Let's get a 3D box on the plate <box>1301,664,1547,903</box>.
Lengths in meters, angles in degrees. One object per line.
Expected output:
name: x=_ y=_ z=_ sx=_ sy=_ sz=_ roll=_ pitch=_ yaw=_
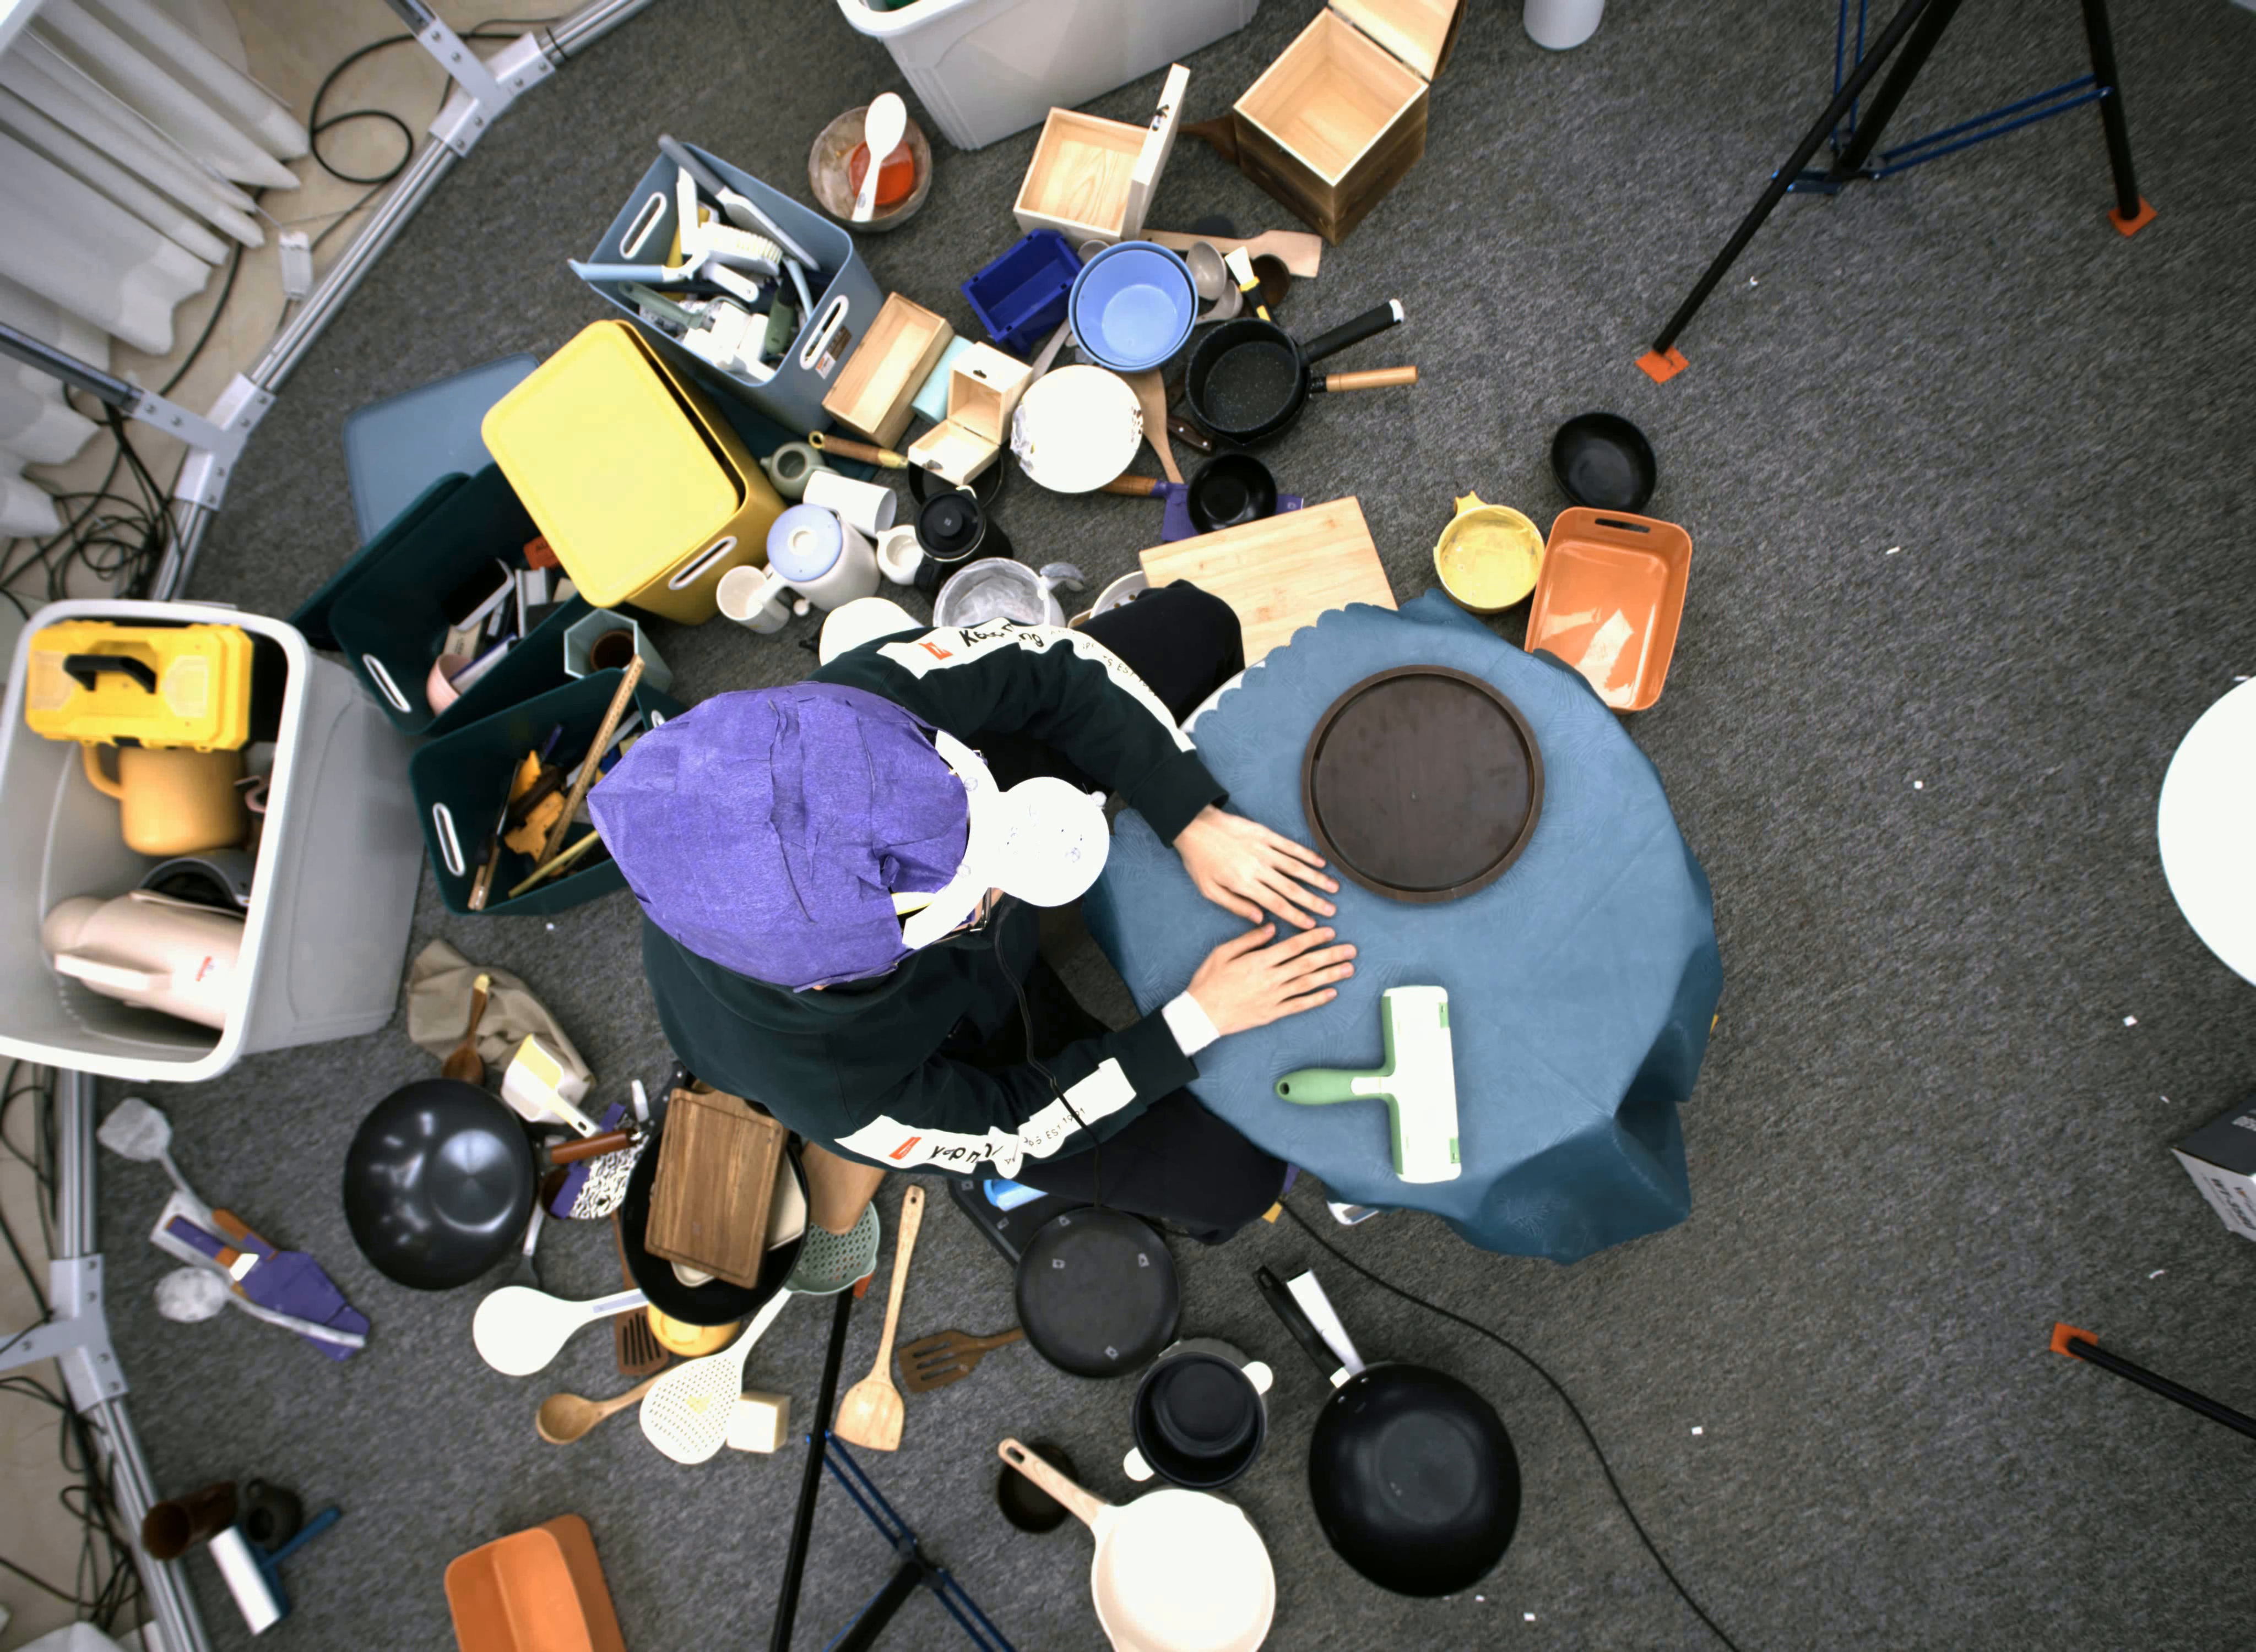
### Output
plate: x=0.309 y=-0.046 z=1.442 sx=0.256 sy=0.029 sz=0.254 roll=-1 pitch=88 yaw=10

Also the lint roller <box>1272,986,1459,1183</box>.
lint roller: x=0.238 y=0.264 z=1.411 sx=0.184 sy=0.082 sz=0.197 roll=-4 pitch=86 yaw=6
